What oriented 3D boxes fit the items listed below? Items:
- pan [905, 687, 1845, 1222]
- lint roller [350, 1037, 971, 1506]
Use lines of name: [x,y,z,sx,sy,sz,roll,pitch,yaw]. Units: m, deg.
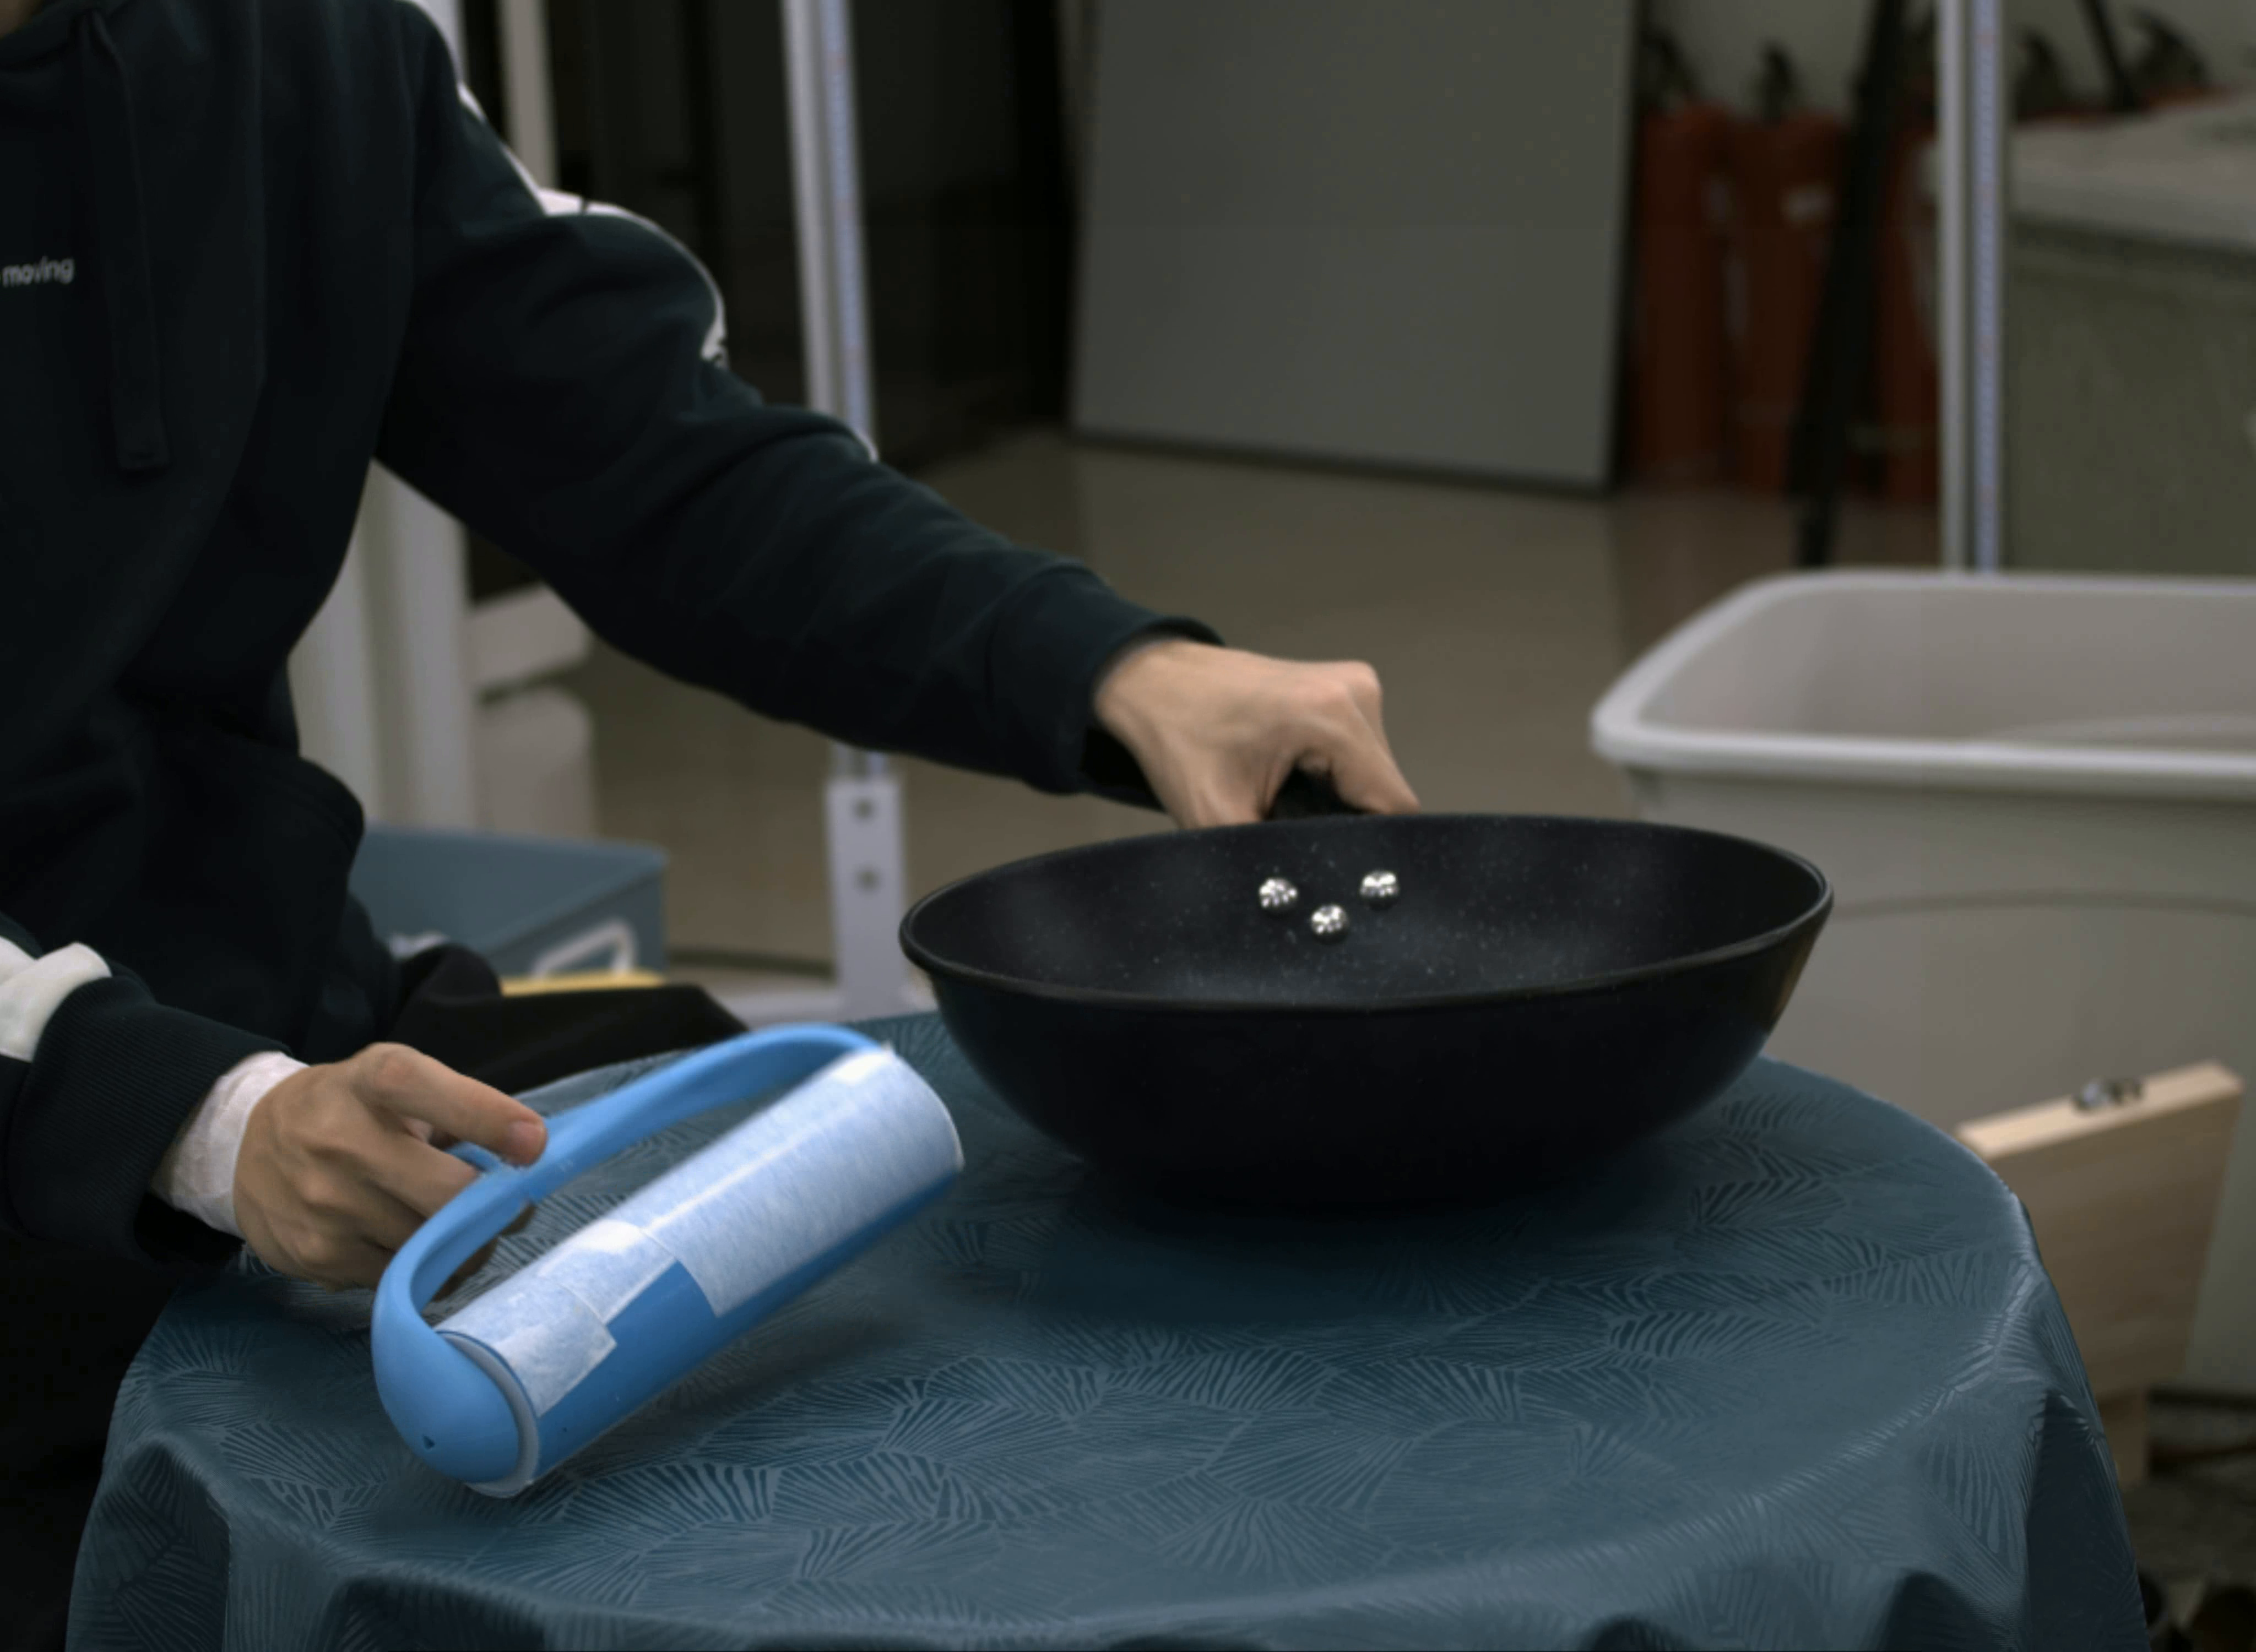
pan: [0.076,0.043,1.847,0.306,0.113,0.478,-2,10,-3]
lint roller: [-0.172,0.127,1.626,0.181,0.068,0.226,5,26,35]
